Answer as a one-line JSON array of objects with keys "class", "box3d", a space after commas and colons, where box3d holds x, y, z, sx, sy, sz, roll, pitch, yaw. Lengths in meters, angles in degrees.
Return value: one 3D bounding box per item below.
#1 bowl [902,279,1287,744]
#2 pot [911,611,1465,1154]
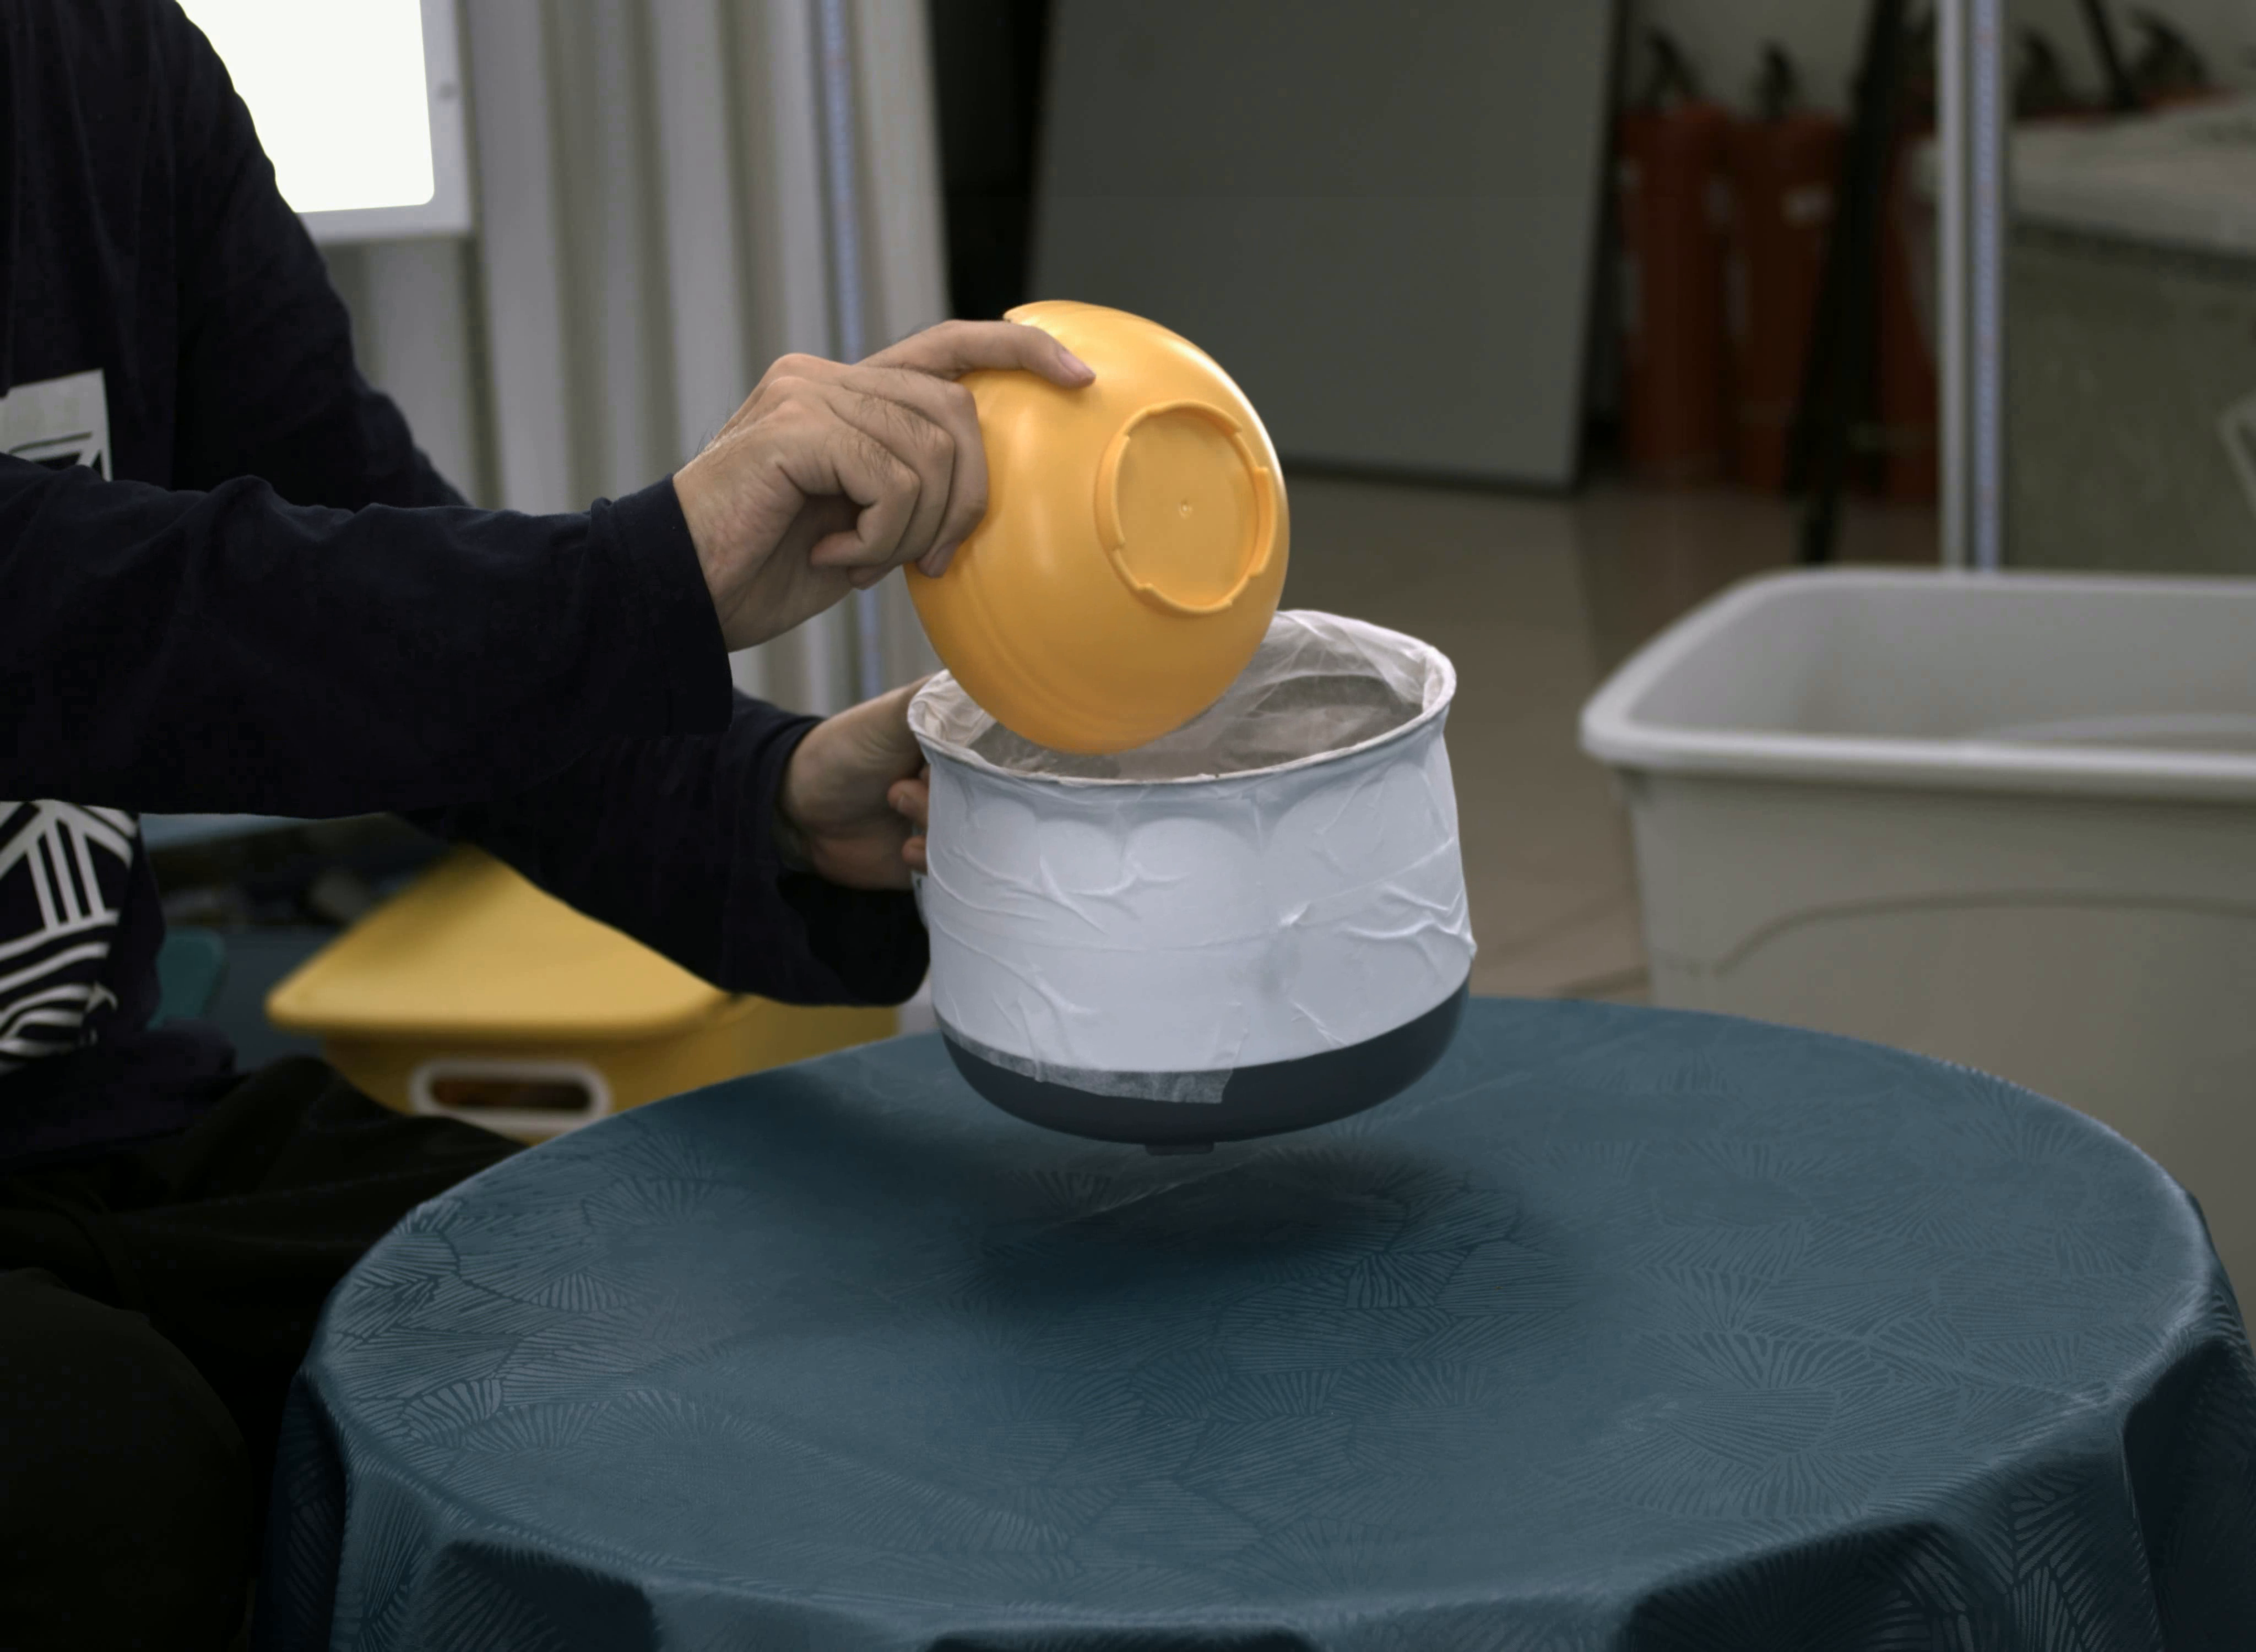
[{"class": "bowl", "box3d": [0.003, -0.101, 1.670, 0.142, 0.147, 0.060, -15, 4, -40]}, {"class": "pot", "box3d": [0.004, 0.010, 1.756, 0.175, 0.138, 0.236, -14, 21, -35]}]
